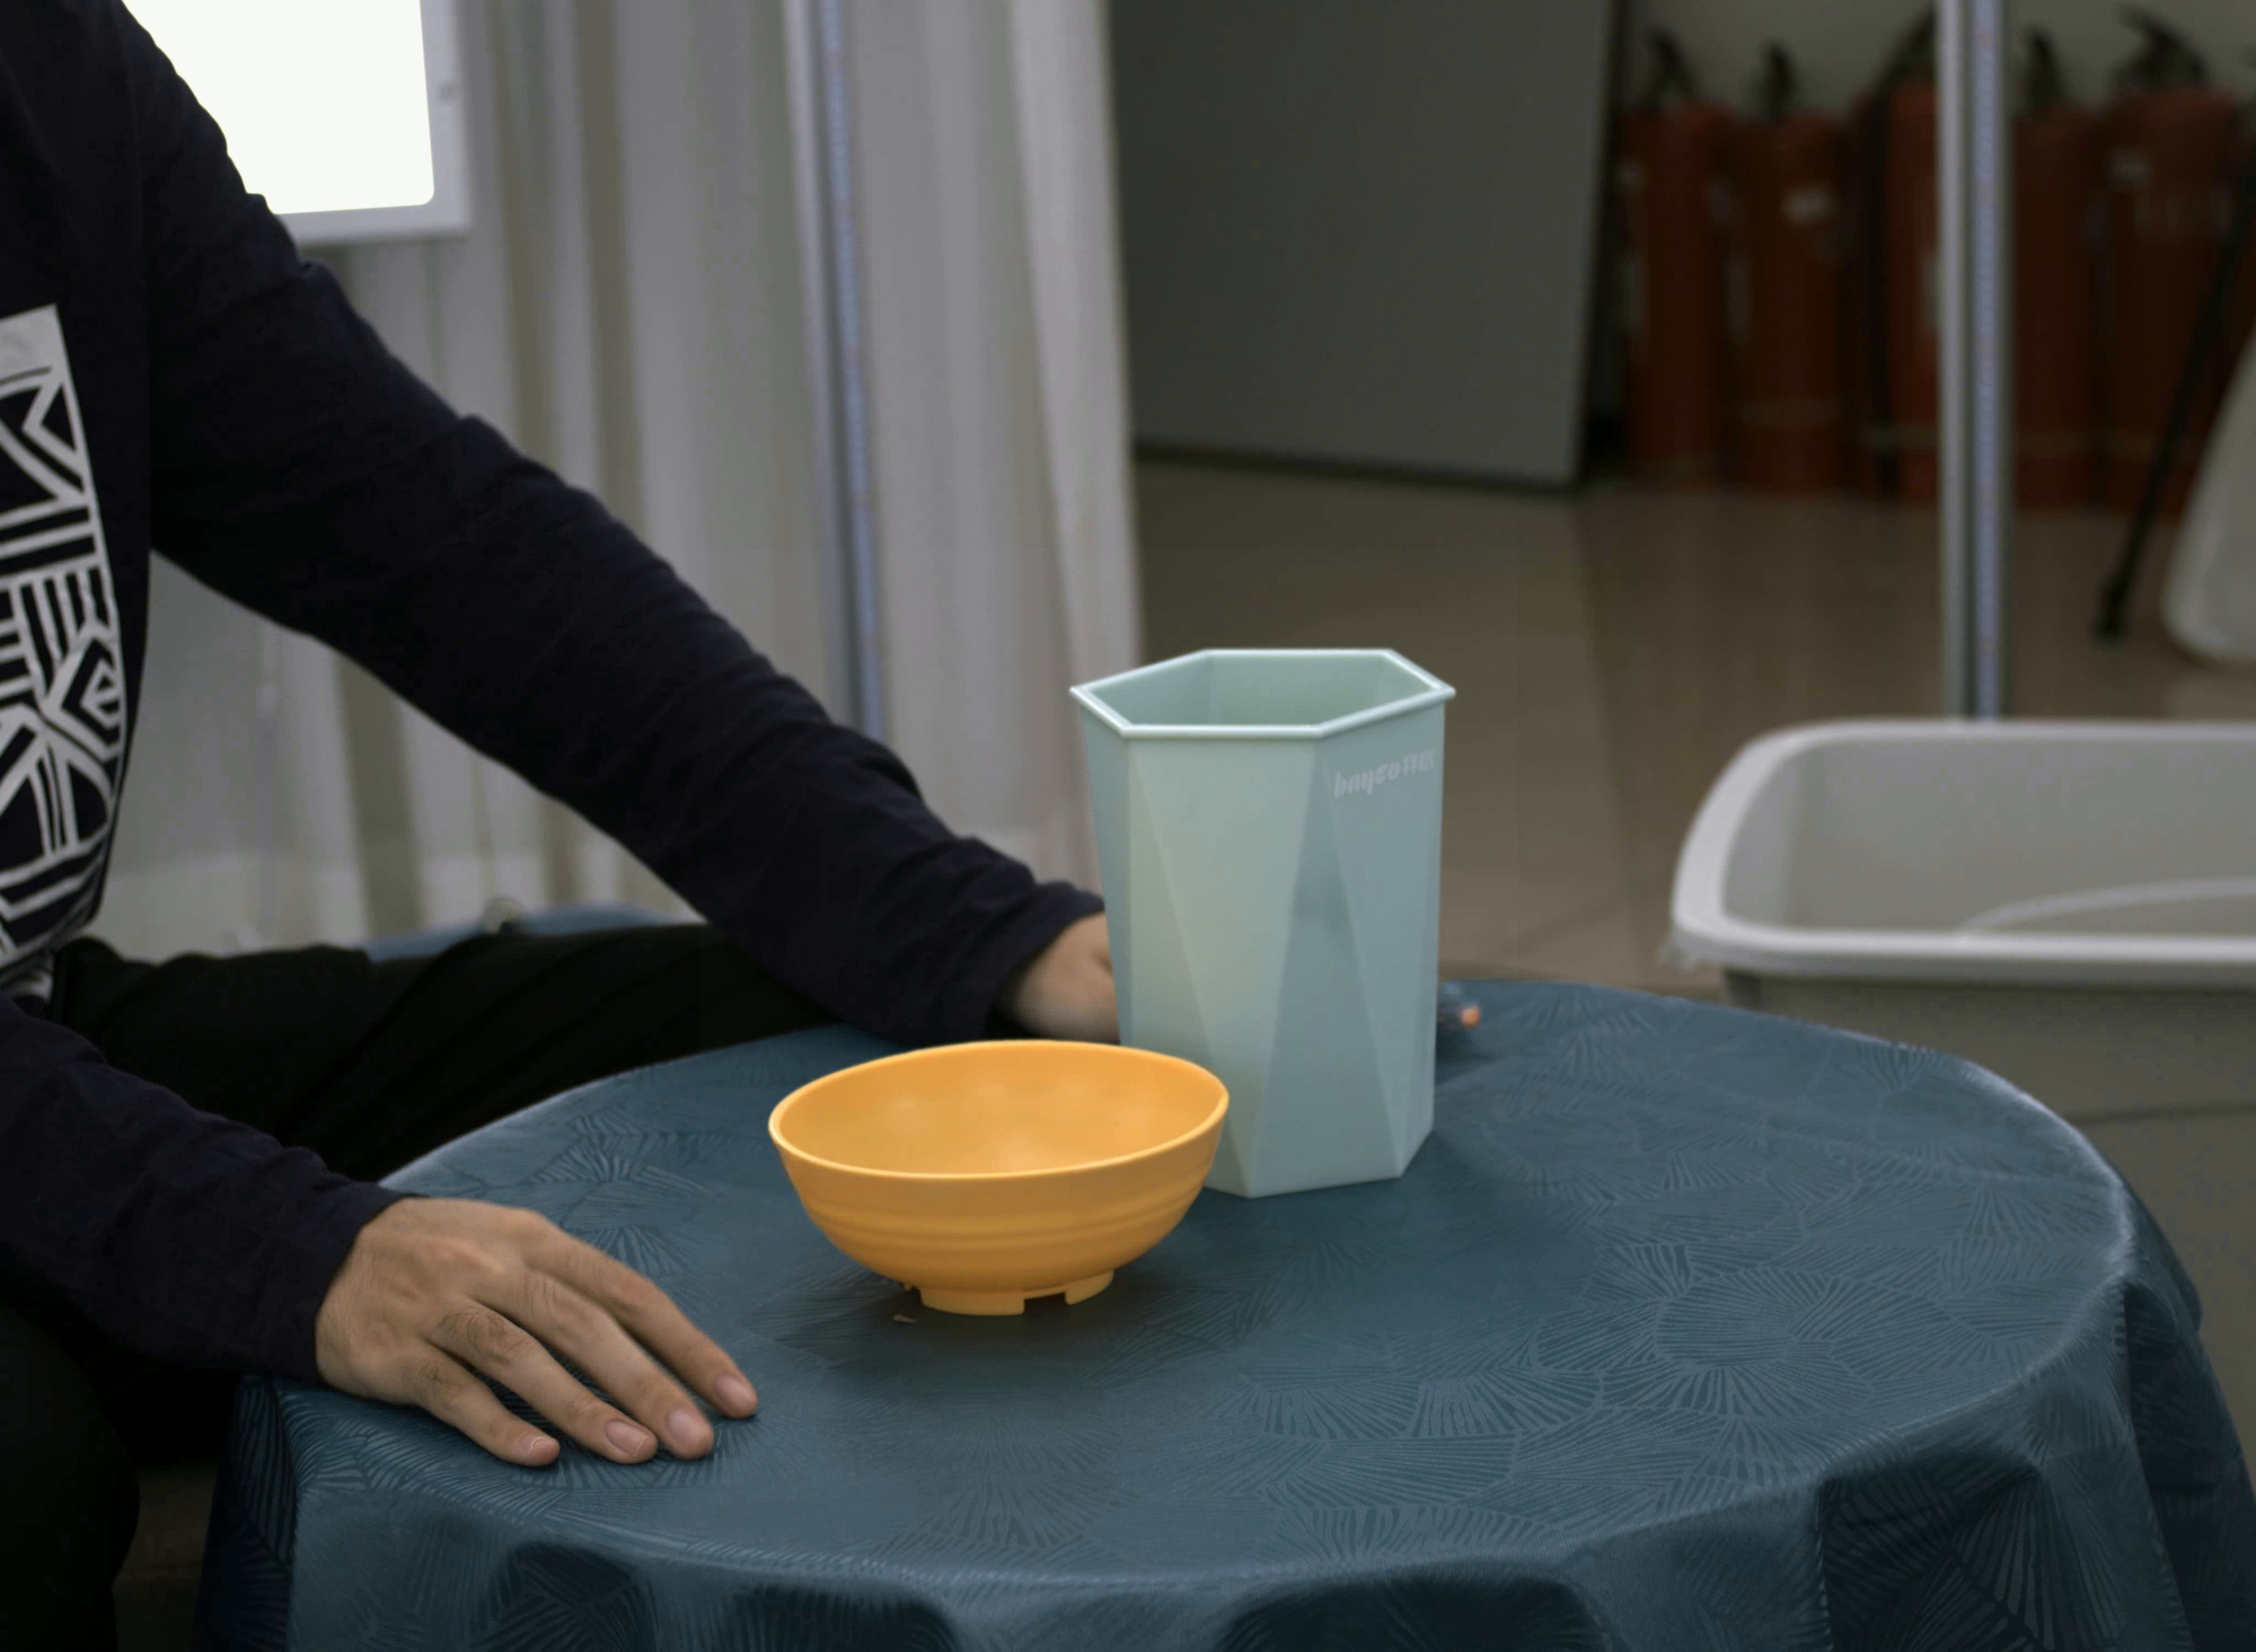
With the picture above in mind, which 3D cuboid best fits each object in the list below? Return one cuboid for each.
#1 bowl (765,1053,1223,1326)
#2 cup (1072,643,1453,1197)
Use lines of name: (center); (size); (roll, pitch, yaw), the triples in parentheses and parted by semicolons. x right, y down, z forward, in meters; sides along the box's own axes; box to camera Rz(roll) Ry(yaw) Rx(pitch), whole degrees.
bowl: (-0.040, 0.117, 1.684); (0.143, 0.061, 0.145); (-5, 12, 0)
cup: (0.049, 0.030, 1.787); (0.116, 0.165, 0.128); (7, 17, 44)
